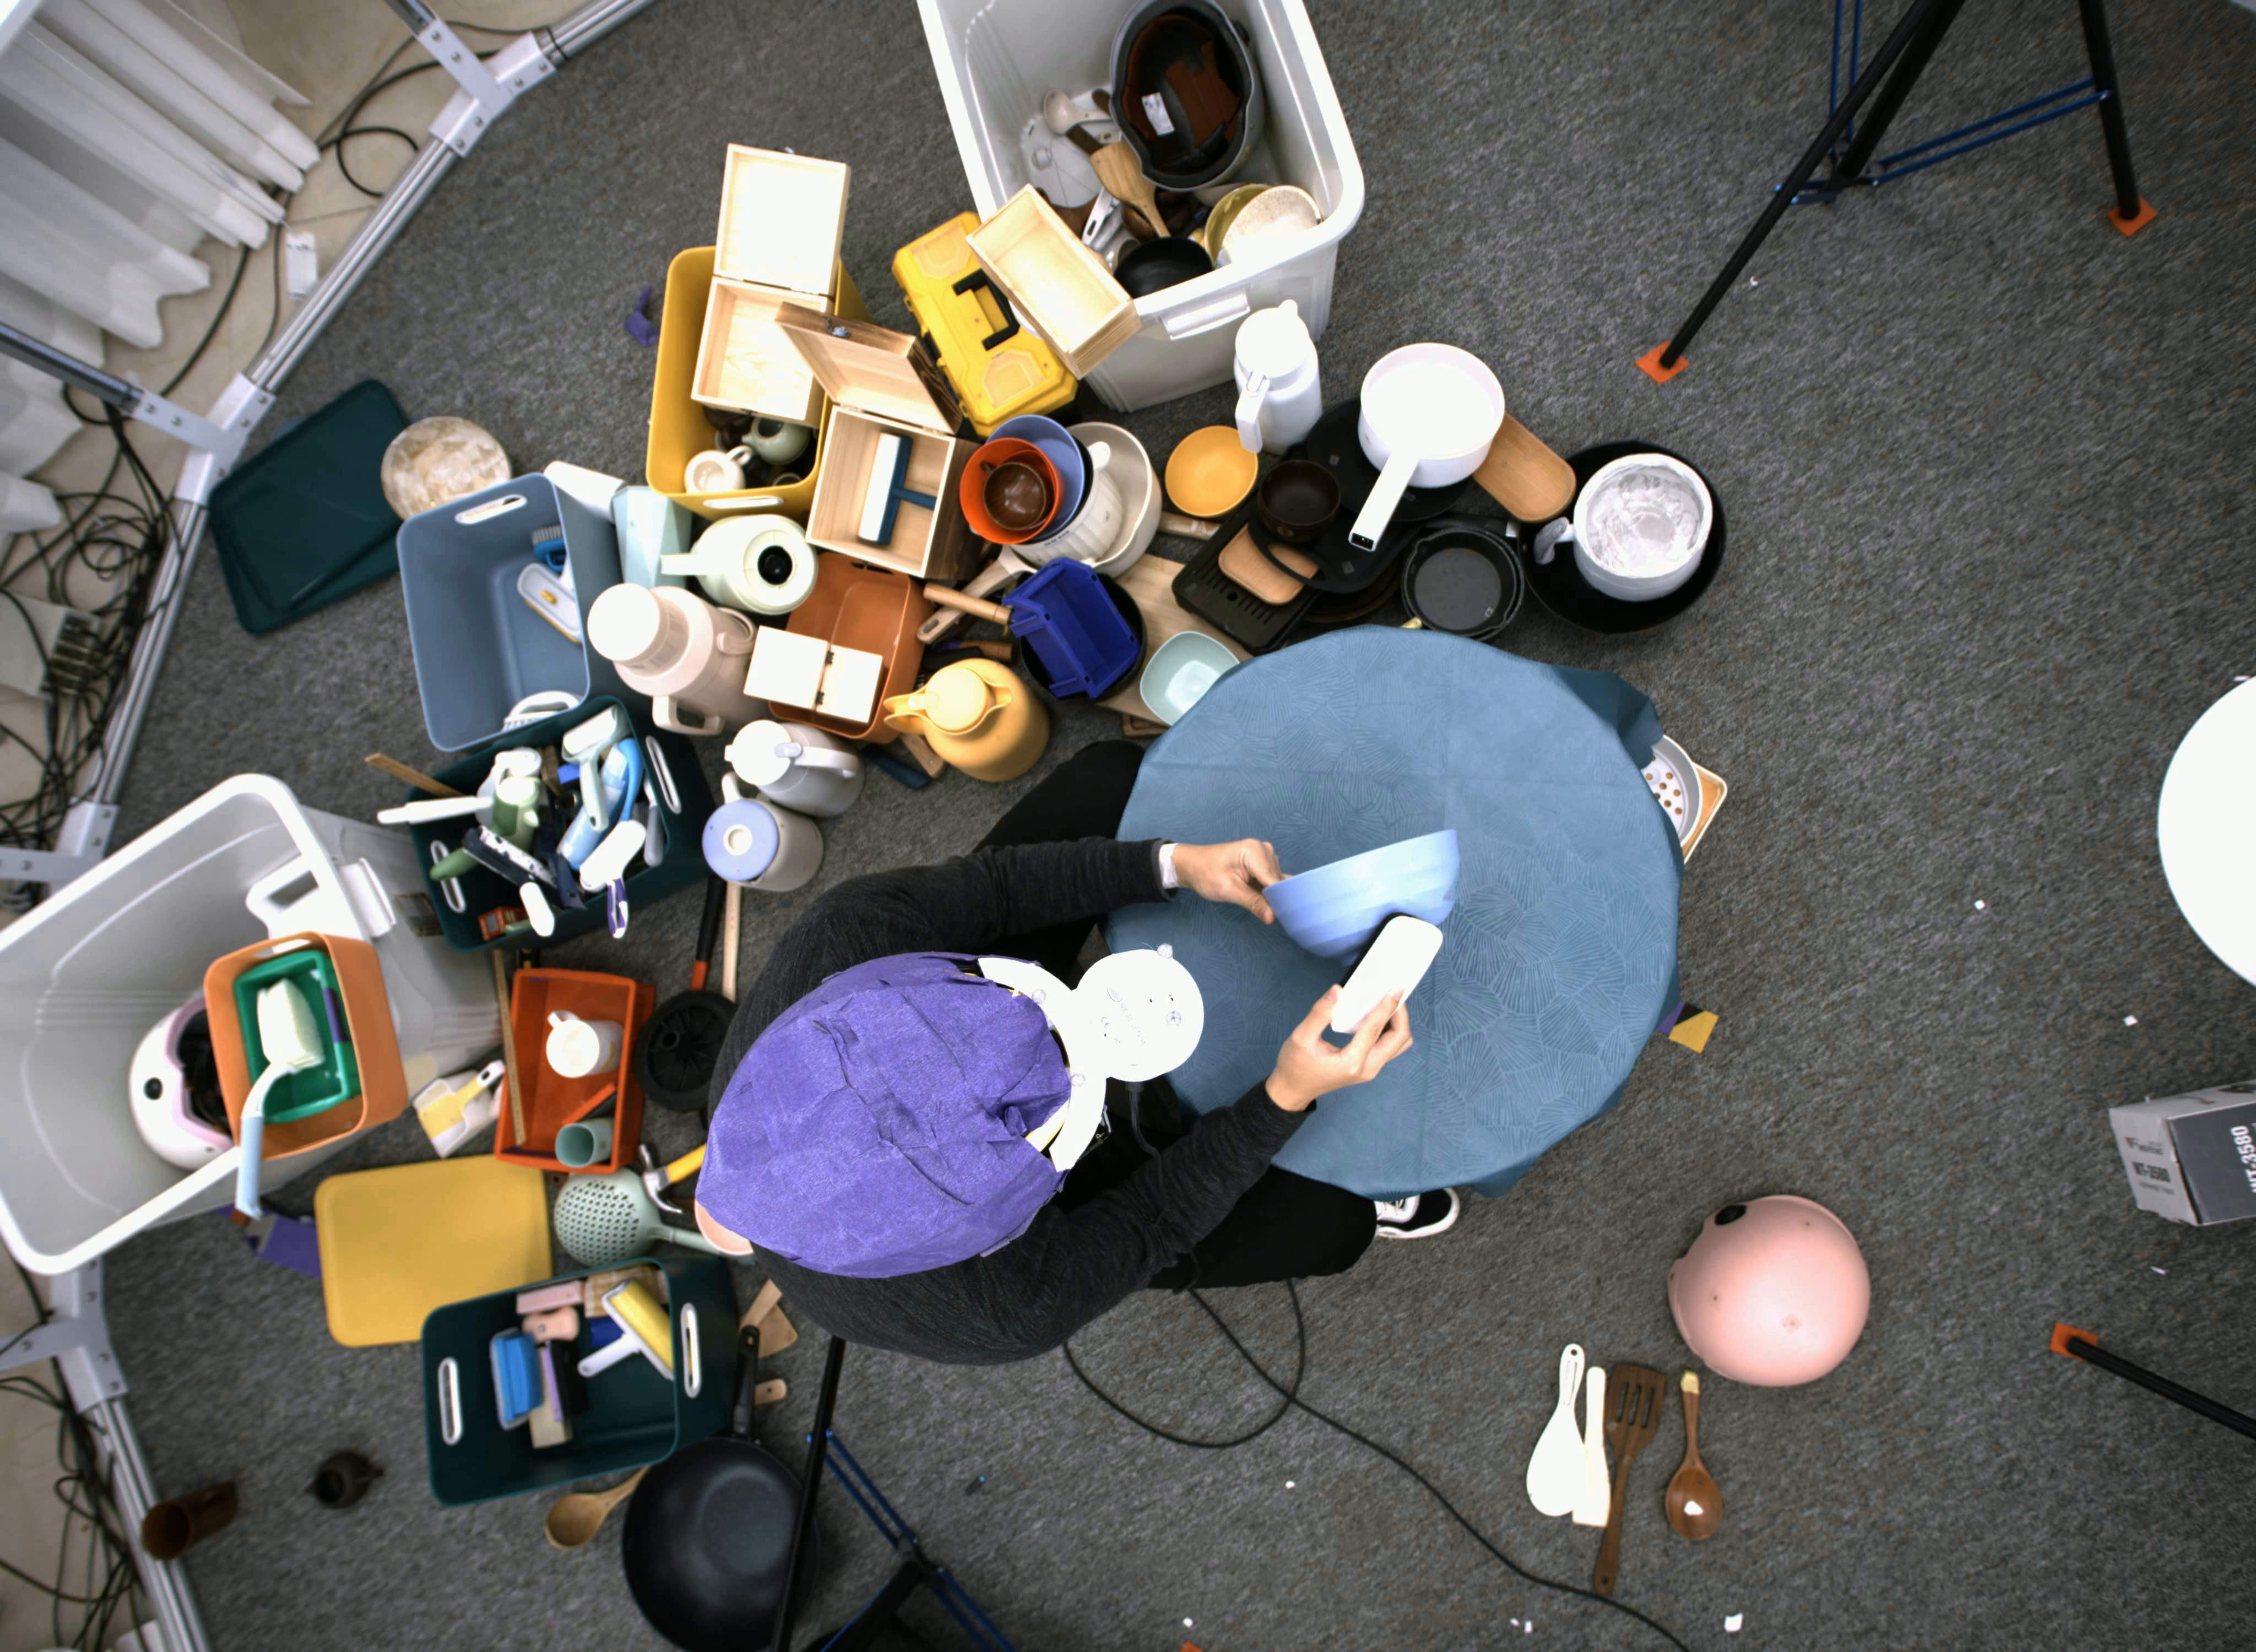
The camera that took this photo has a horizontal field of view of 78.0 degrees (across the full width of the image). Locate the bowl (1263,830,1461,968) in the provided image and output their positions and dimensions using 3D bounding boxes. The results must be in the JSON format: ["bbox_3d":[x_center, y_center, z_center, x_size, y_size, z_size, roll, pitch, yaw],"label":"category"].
[{"bbox_3d":[0.237,0.077,1.334,0.197,0.196,0.095,-18,83,8],"label":"bowl"}]

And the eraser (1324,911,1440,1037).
[{"bbox_3d":[0.233,0.138,1.274,0.134,0.063,0.034,-61,35,24],"label":"eraser"}]
